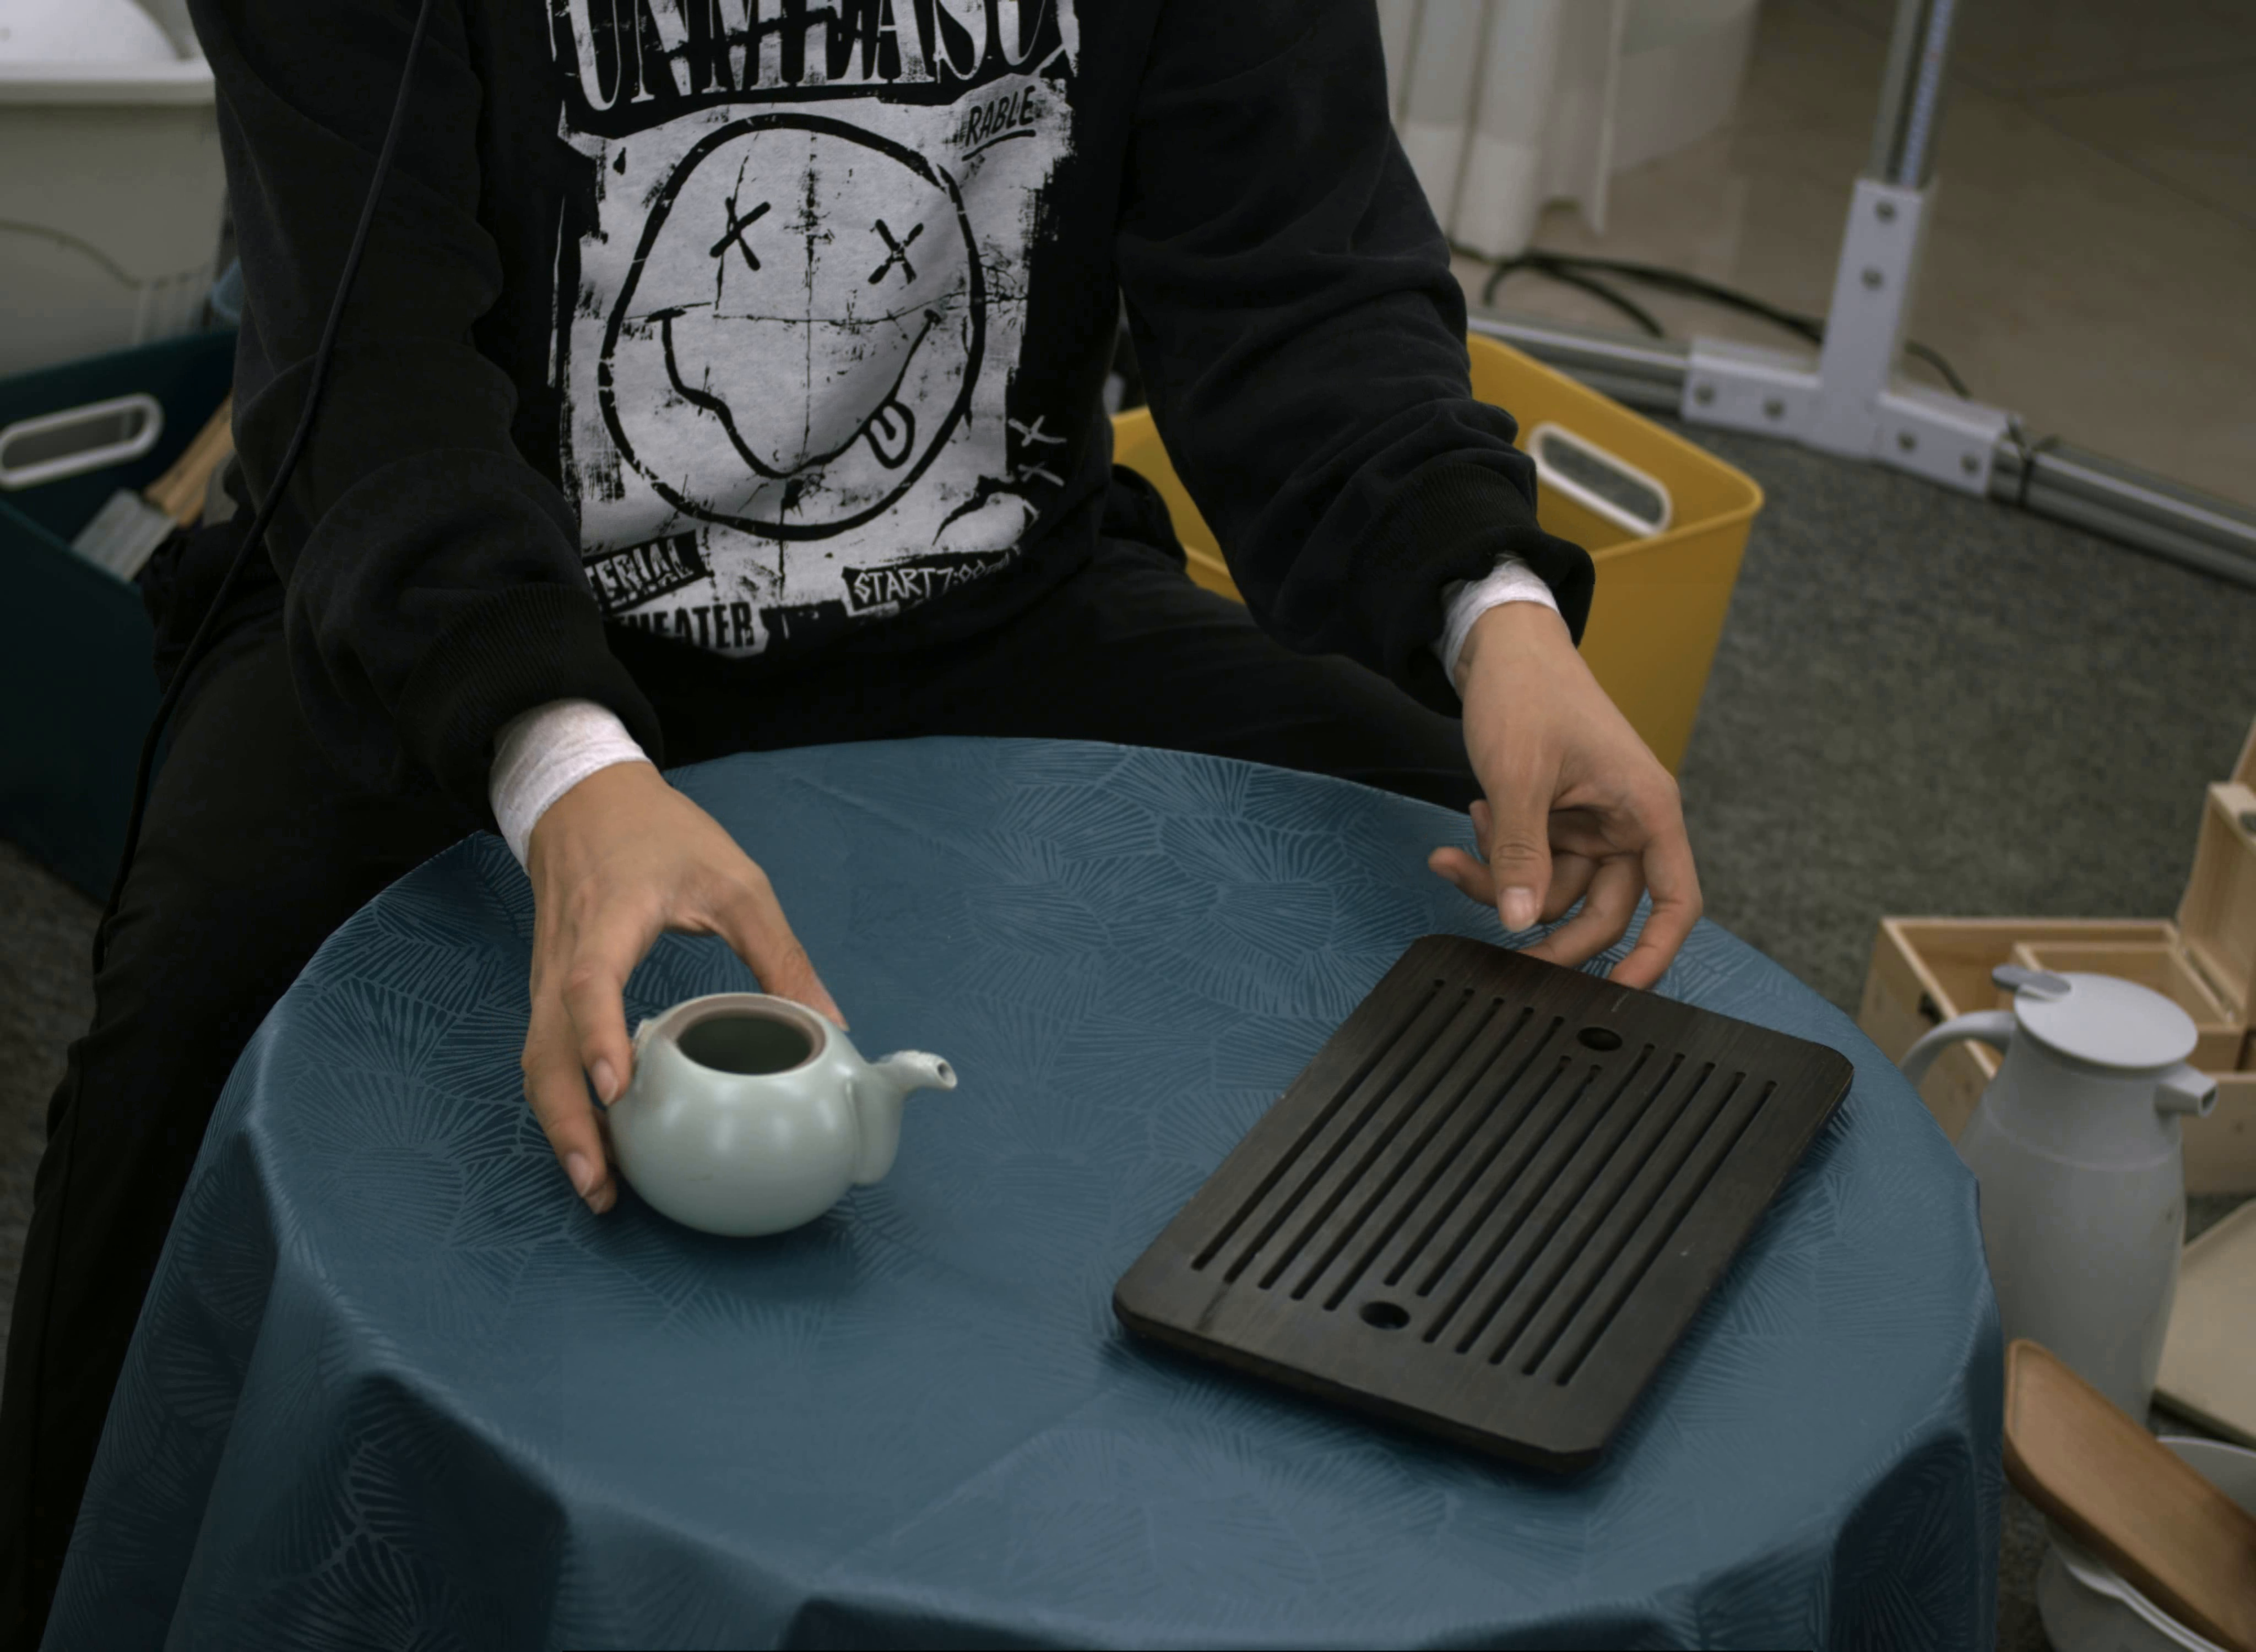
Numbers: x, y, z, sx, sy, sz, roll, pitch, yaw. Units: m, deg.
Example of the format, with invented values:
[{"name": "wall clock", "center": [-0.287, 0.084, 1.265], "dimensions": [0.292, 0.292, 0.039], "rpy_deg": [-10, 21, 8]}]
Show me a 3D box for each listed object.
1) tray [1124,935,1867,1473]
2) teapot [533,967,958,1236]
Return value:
[{"name": "tray", "center": [0.131, 0.125, 1.811], "dimensions": [0.170, 0.018, 0.306], "rpy_deg": [16, 28, 19]}, {"name": "teapot", "center": [-0.128, 0.093, 1.756], "dimensions": [0.144, 0.074, 0.088], "rpy_deg": [14, 28, 11]}]
